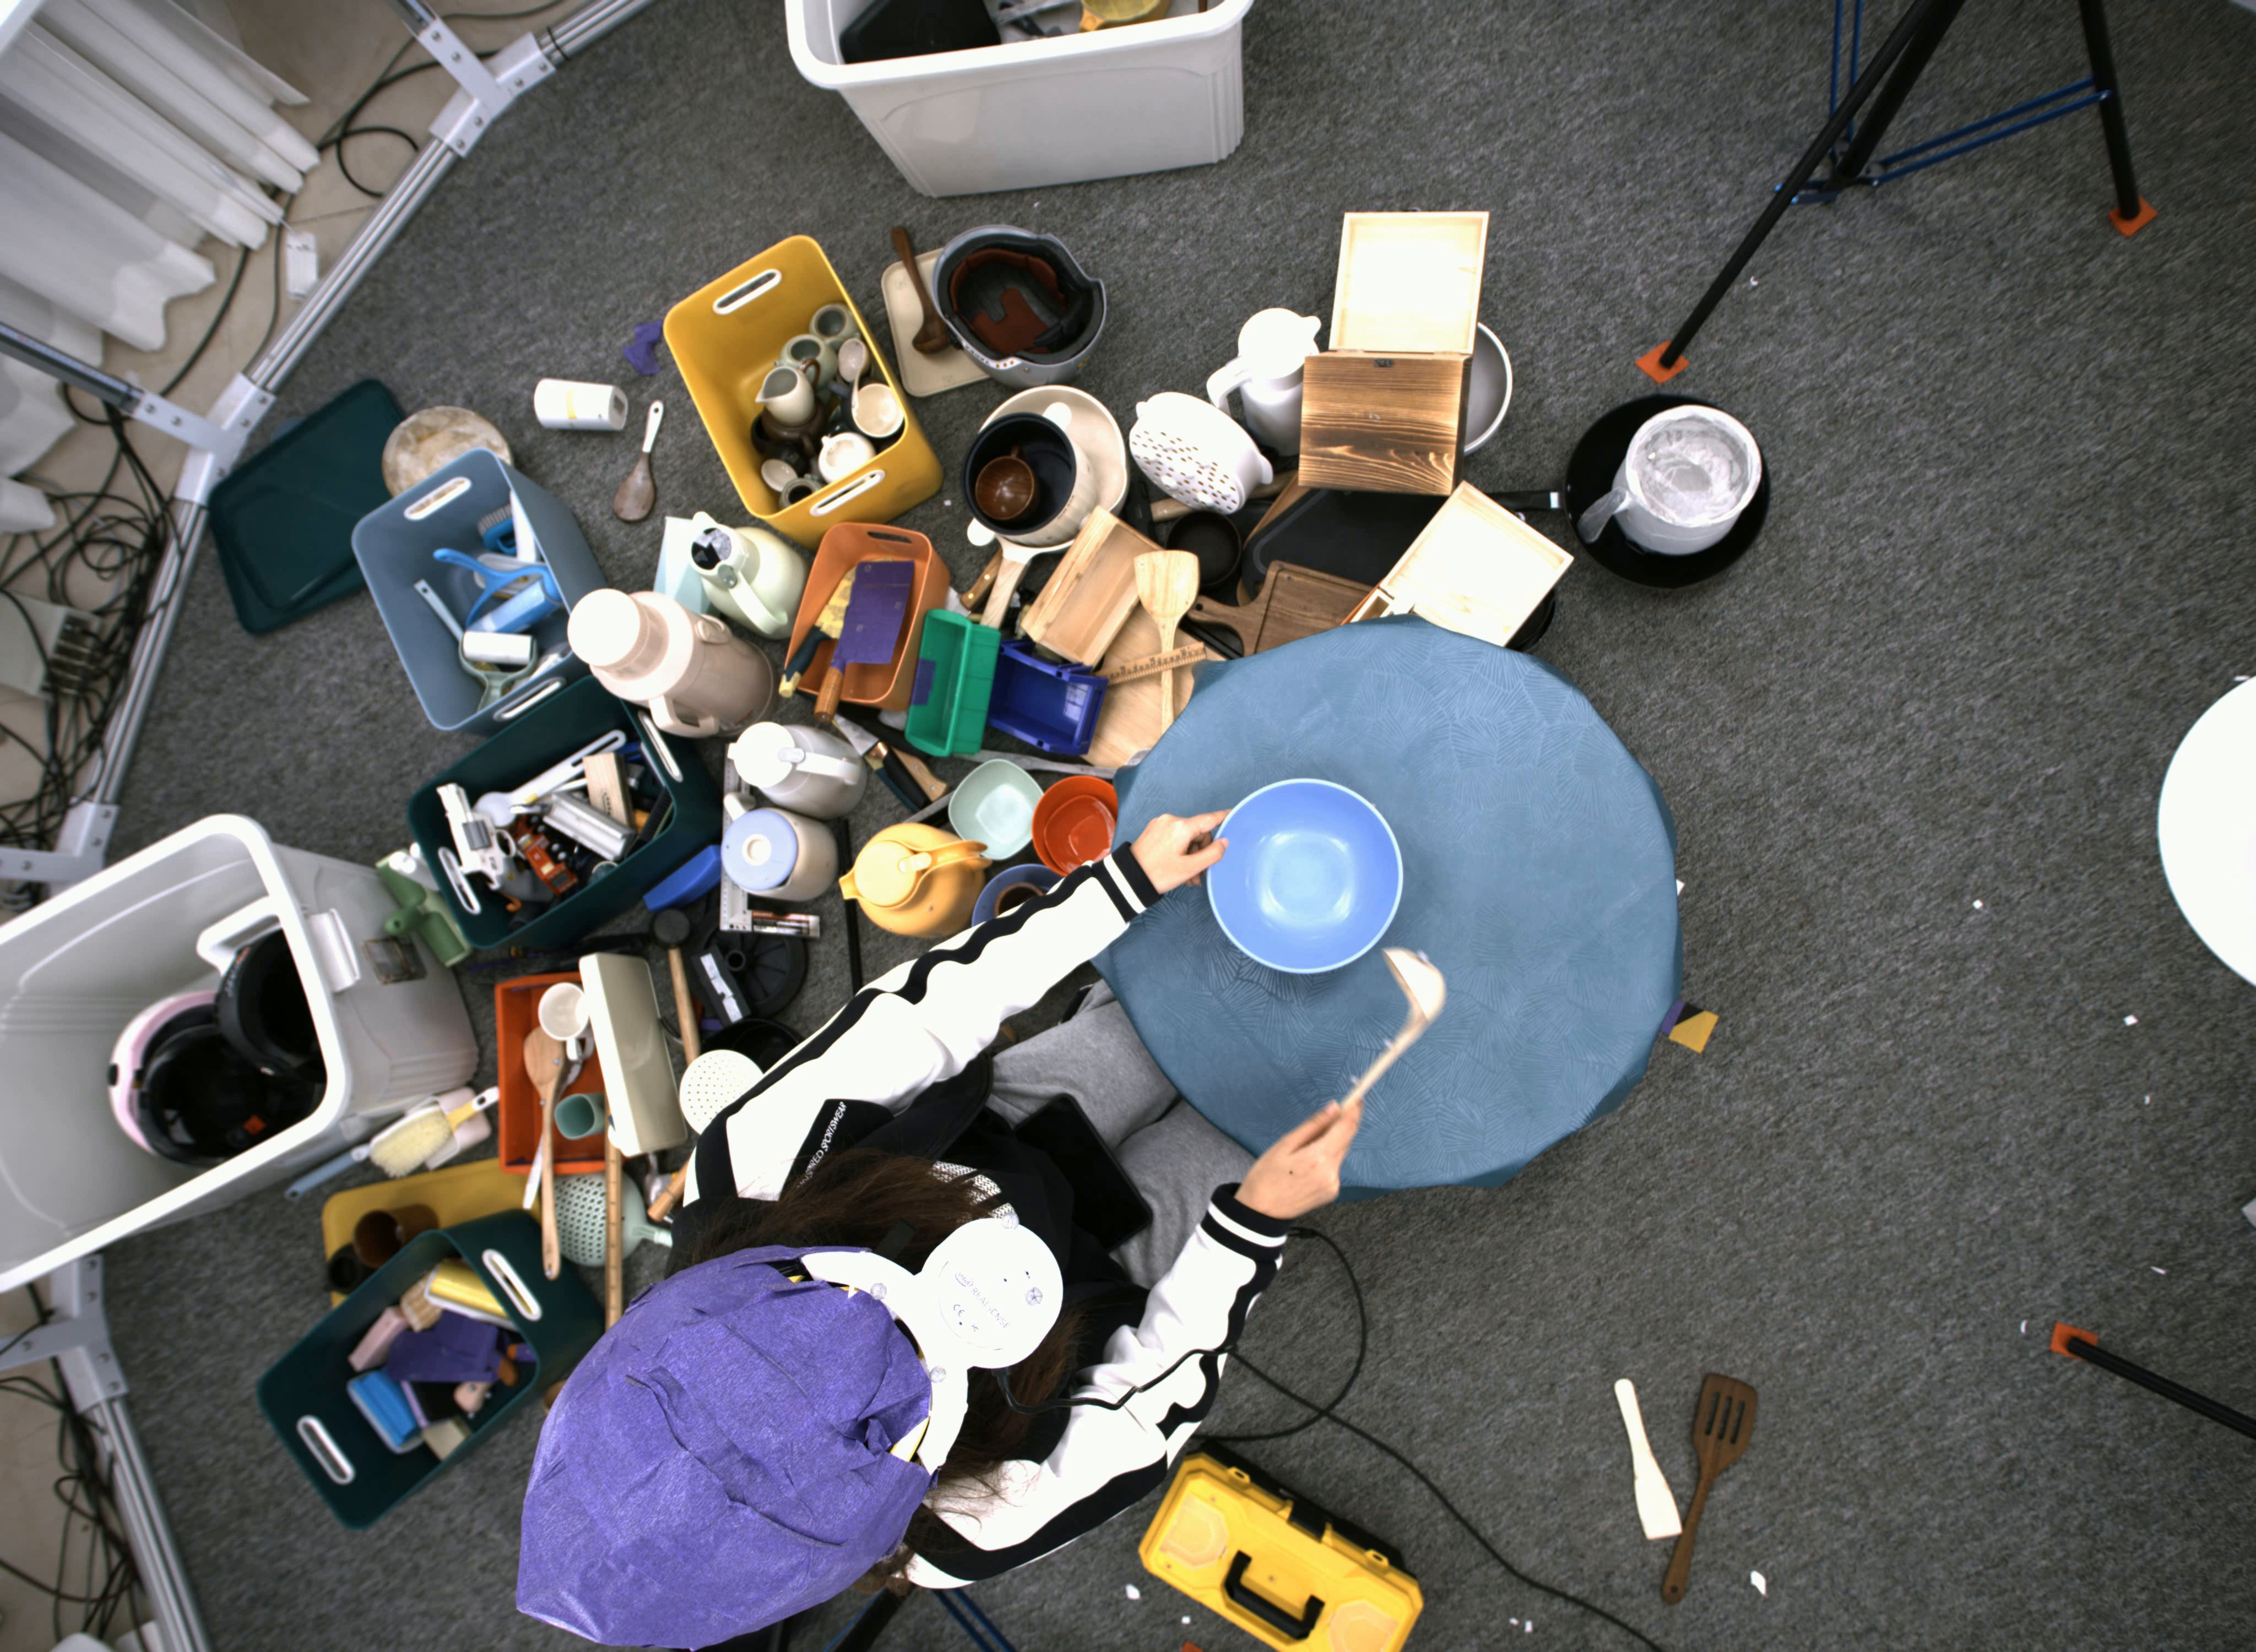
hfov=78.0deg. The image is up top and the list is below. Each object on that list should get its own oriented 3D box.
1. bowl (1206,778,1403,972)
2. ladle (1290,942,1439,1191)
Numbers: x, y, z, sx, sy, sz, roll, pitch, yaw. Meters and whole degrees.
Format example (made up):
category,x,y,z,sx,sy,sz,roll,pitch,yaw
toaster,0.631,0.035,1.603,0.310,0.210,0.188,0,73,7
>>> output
category,x,y,z,sx,sy,sz,roll,pitch,yaw
bowl,0.182,0.054,1.429,0.197,0.095,0.195,-1,84,9
ladle,0.197,0.221,1.282,0.073,0.071,0.256,30,100,-22
